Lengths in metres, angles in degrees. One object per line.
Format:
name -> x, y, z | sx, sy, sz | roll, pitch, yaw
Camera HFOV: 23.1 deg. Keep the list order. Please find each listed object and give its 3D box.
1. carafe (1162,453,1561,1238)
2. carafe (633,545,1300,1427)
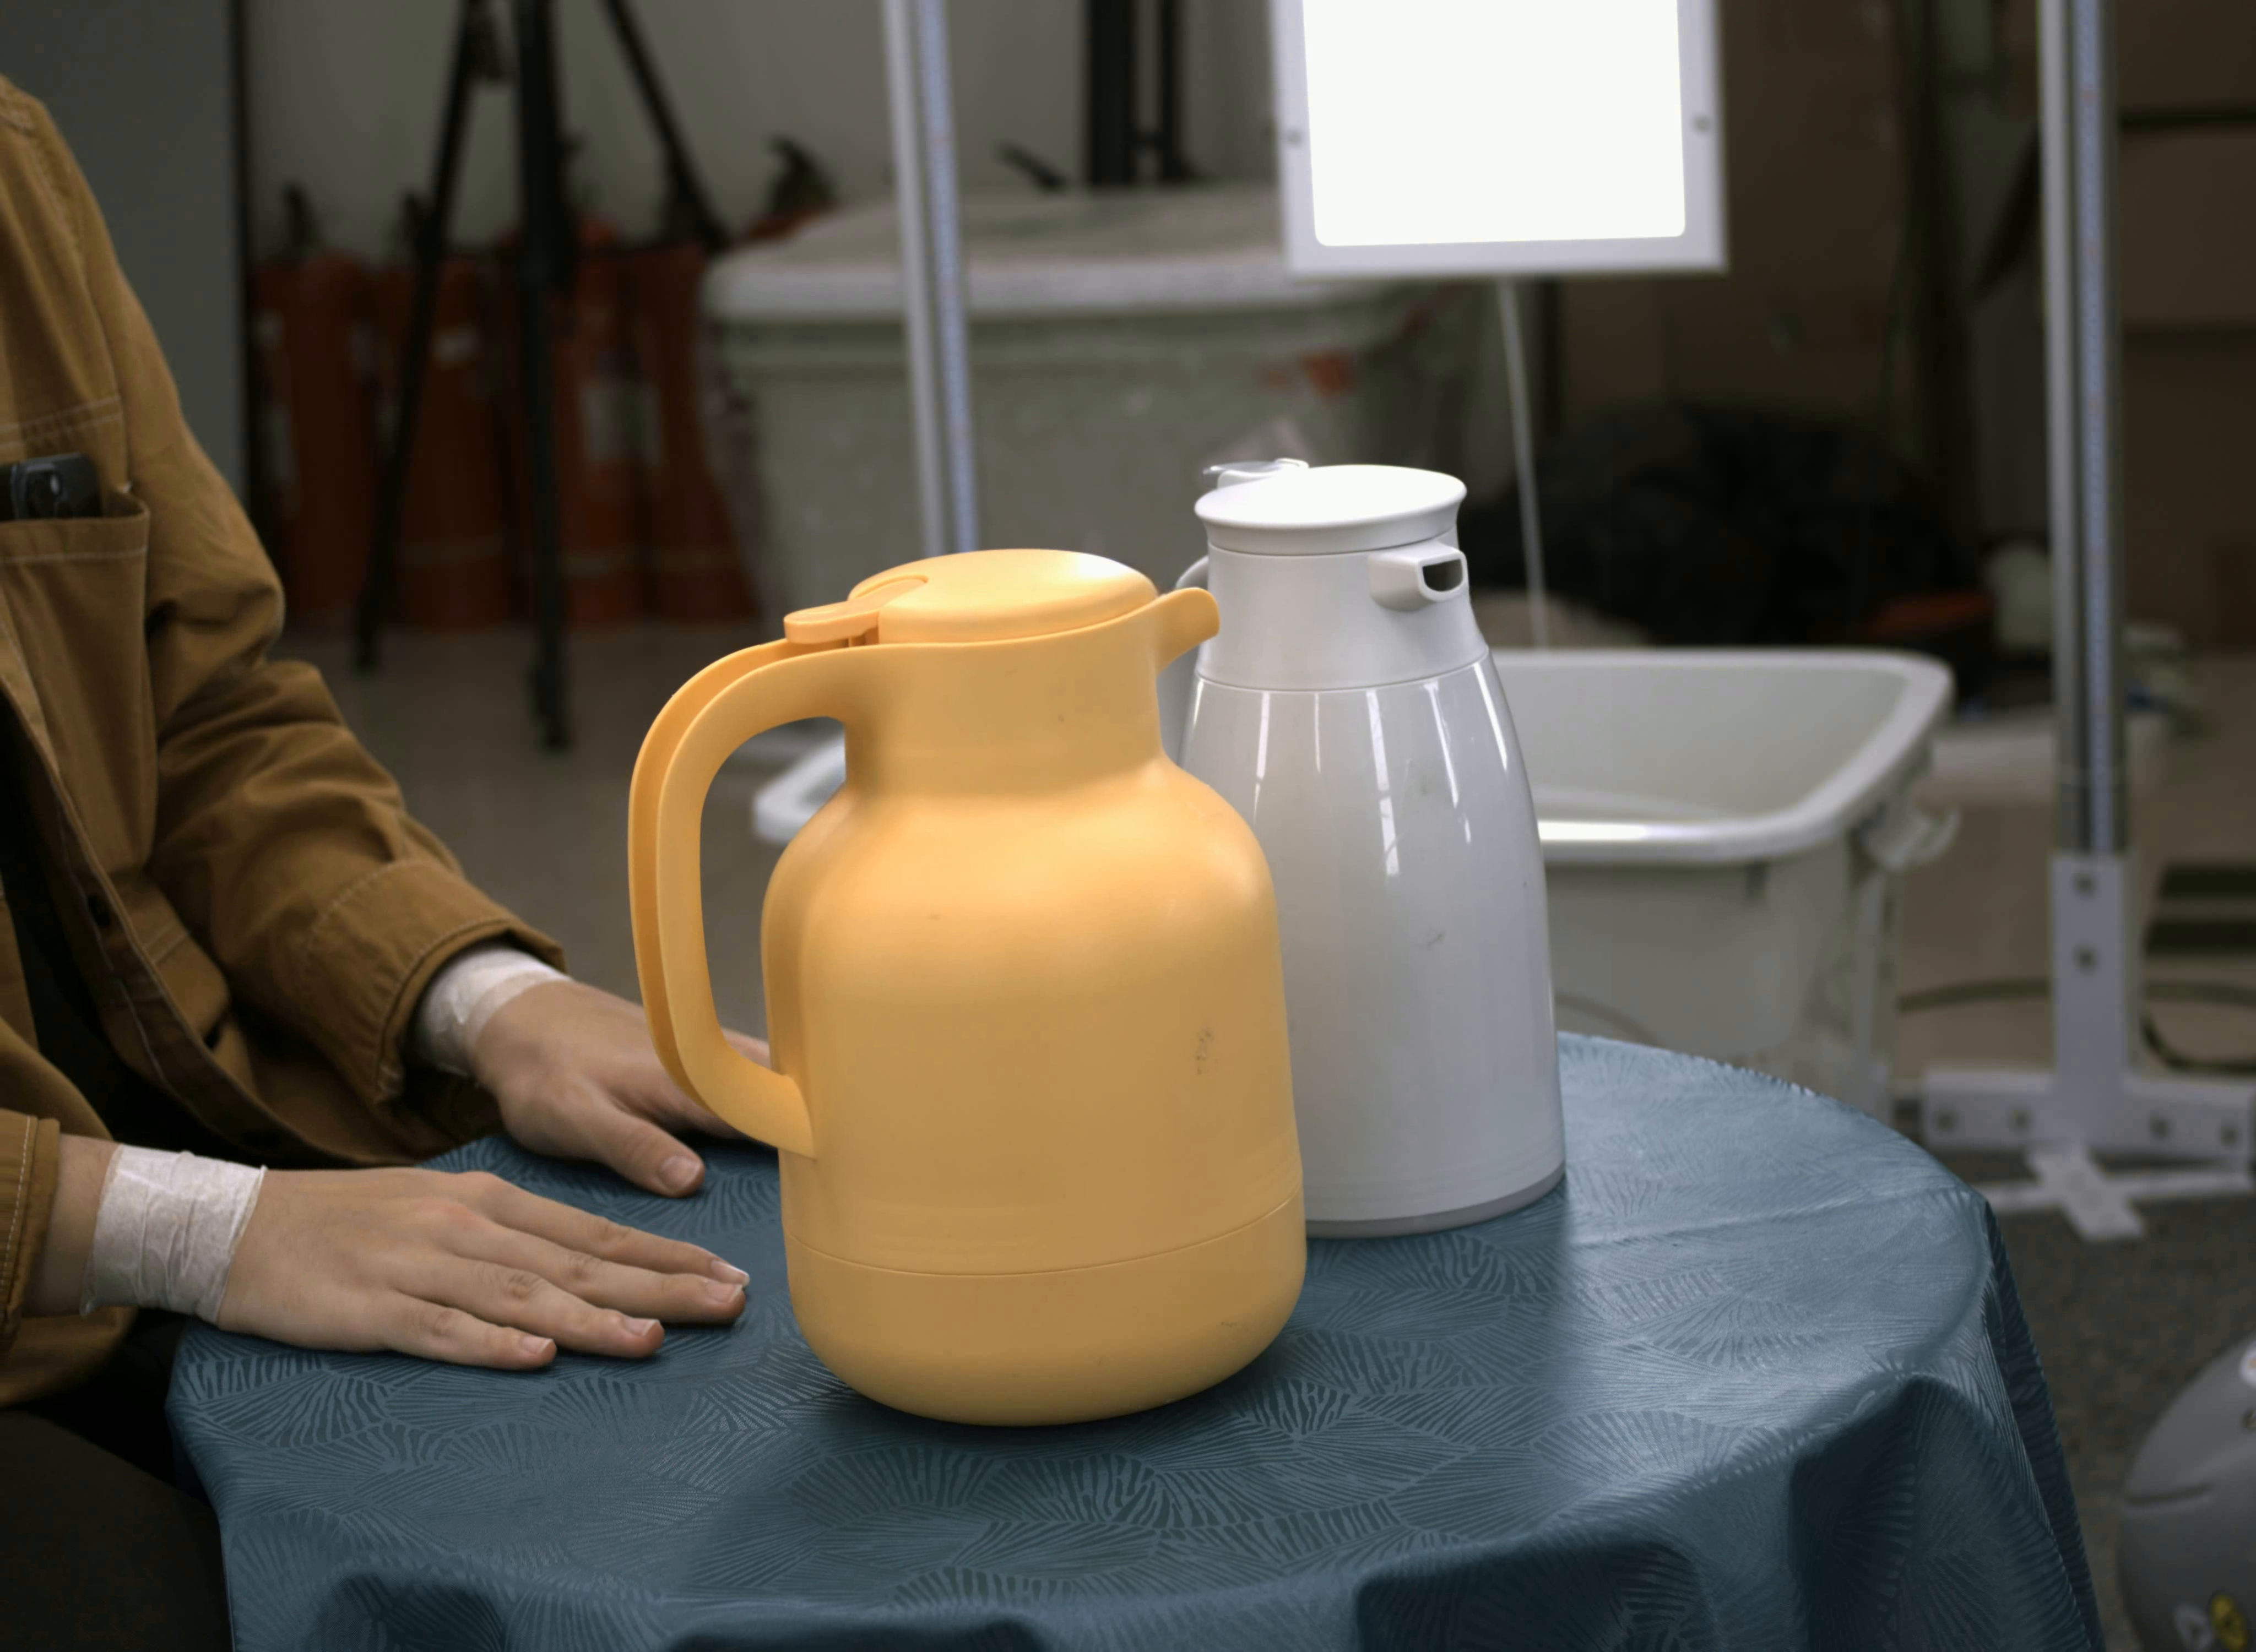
carafe -> 0.064, -0.001, 1.874 | 0.129, 0.249, 0.171 | -13, 16, -31
carafe -> -0.051, 0.048, 1.693 | 0.199, 0.261, 0.166 | -9, 12, -21
